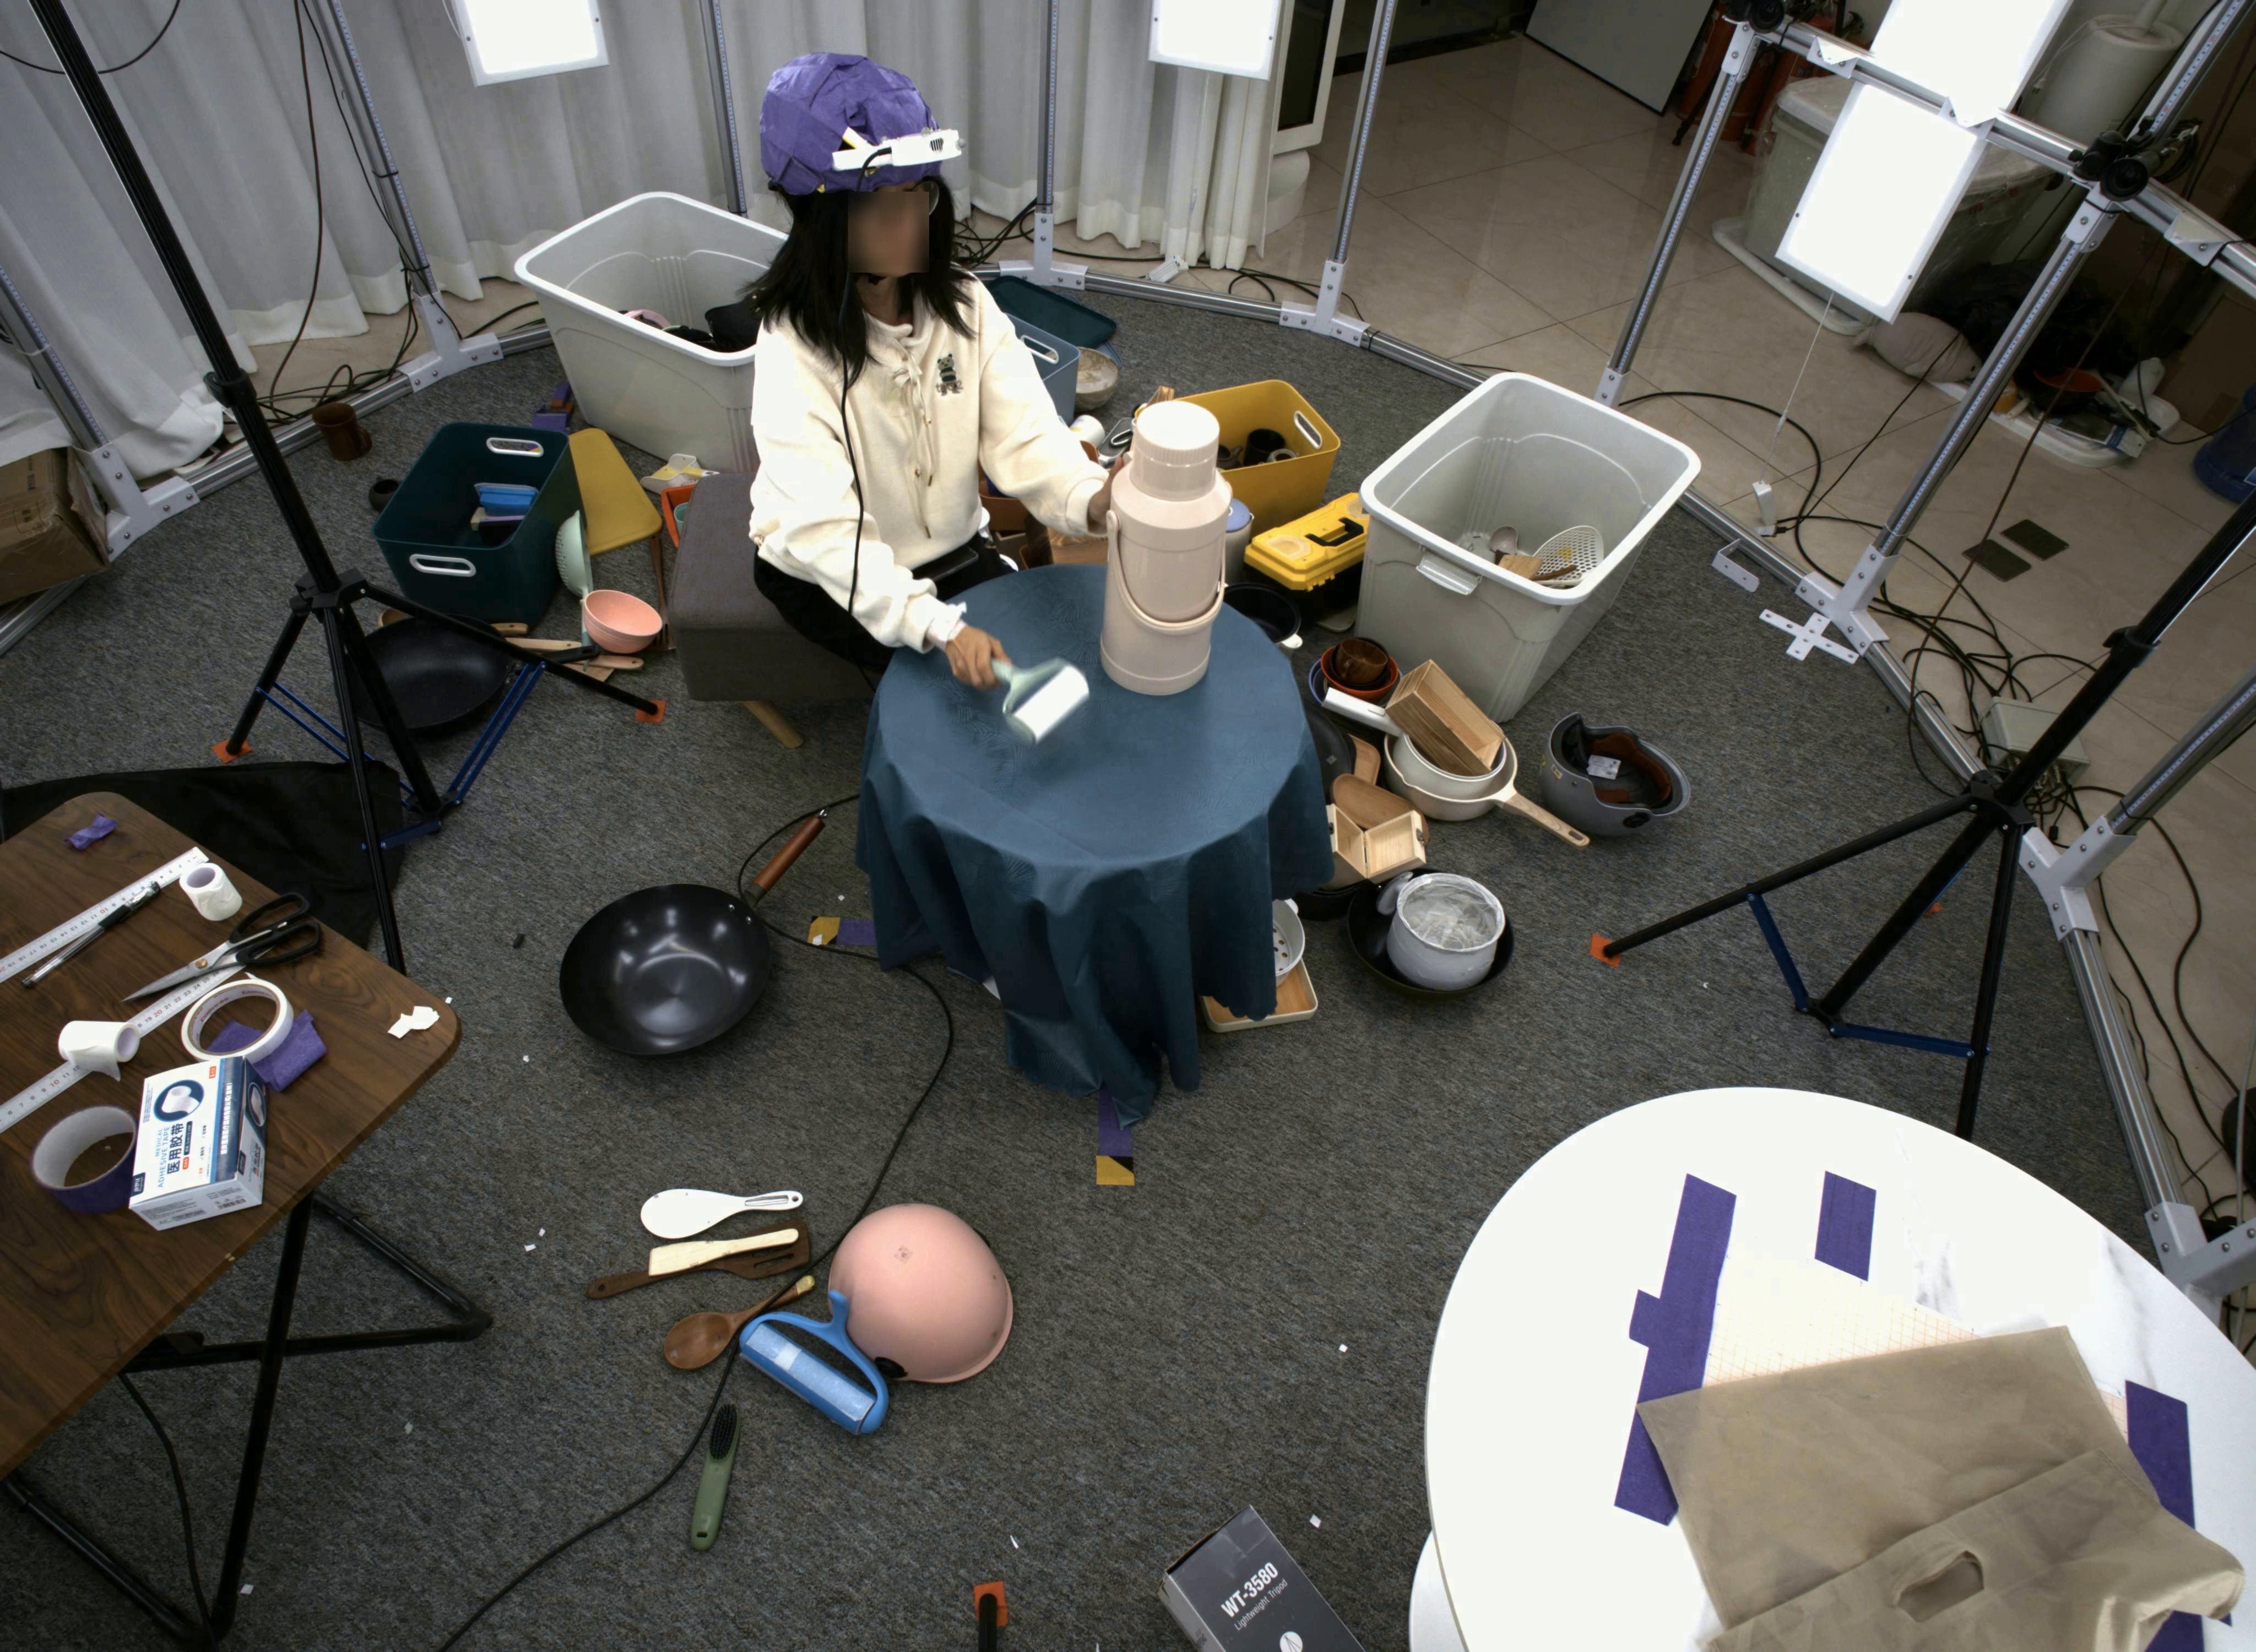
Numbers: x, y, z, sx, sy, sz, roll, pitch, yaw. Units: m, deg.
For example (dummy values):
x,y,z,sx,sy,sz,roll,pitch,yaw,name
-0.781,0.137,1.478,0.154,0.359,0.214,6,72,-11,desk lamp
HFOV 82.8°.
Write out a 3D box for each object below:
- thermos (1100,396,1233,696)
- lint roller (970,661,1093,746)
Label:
x,y,z,sx,sy,sz,roll,pitch,yaw,name
0.045,-0.382,1.749,0.175,0.396,0.211,-19,53,-19,thermos
-0.148,-0.190,1.743,0.201,0.047,0.117,34,68,33,lint roller
